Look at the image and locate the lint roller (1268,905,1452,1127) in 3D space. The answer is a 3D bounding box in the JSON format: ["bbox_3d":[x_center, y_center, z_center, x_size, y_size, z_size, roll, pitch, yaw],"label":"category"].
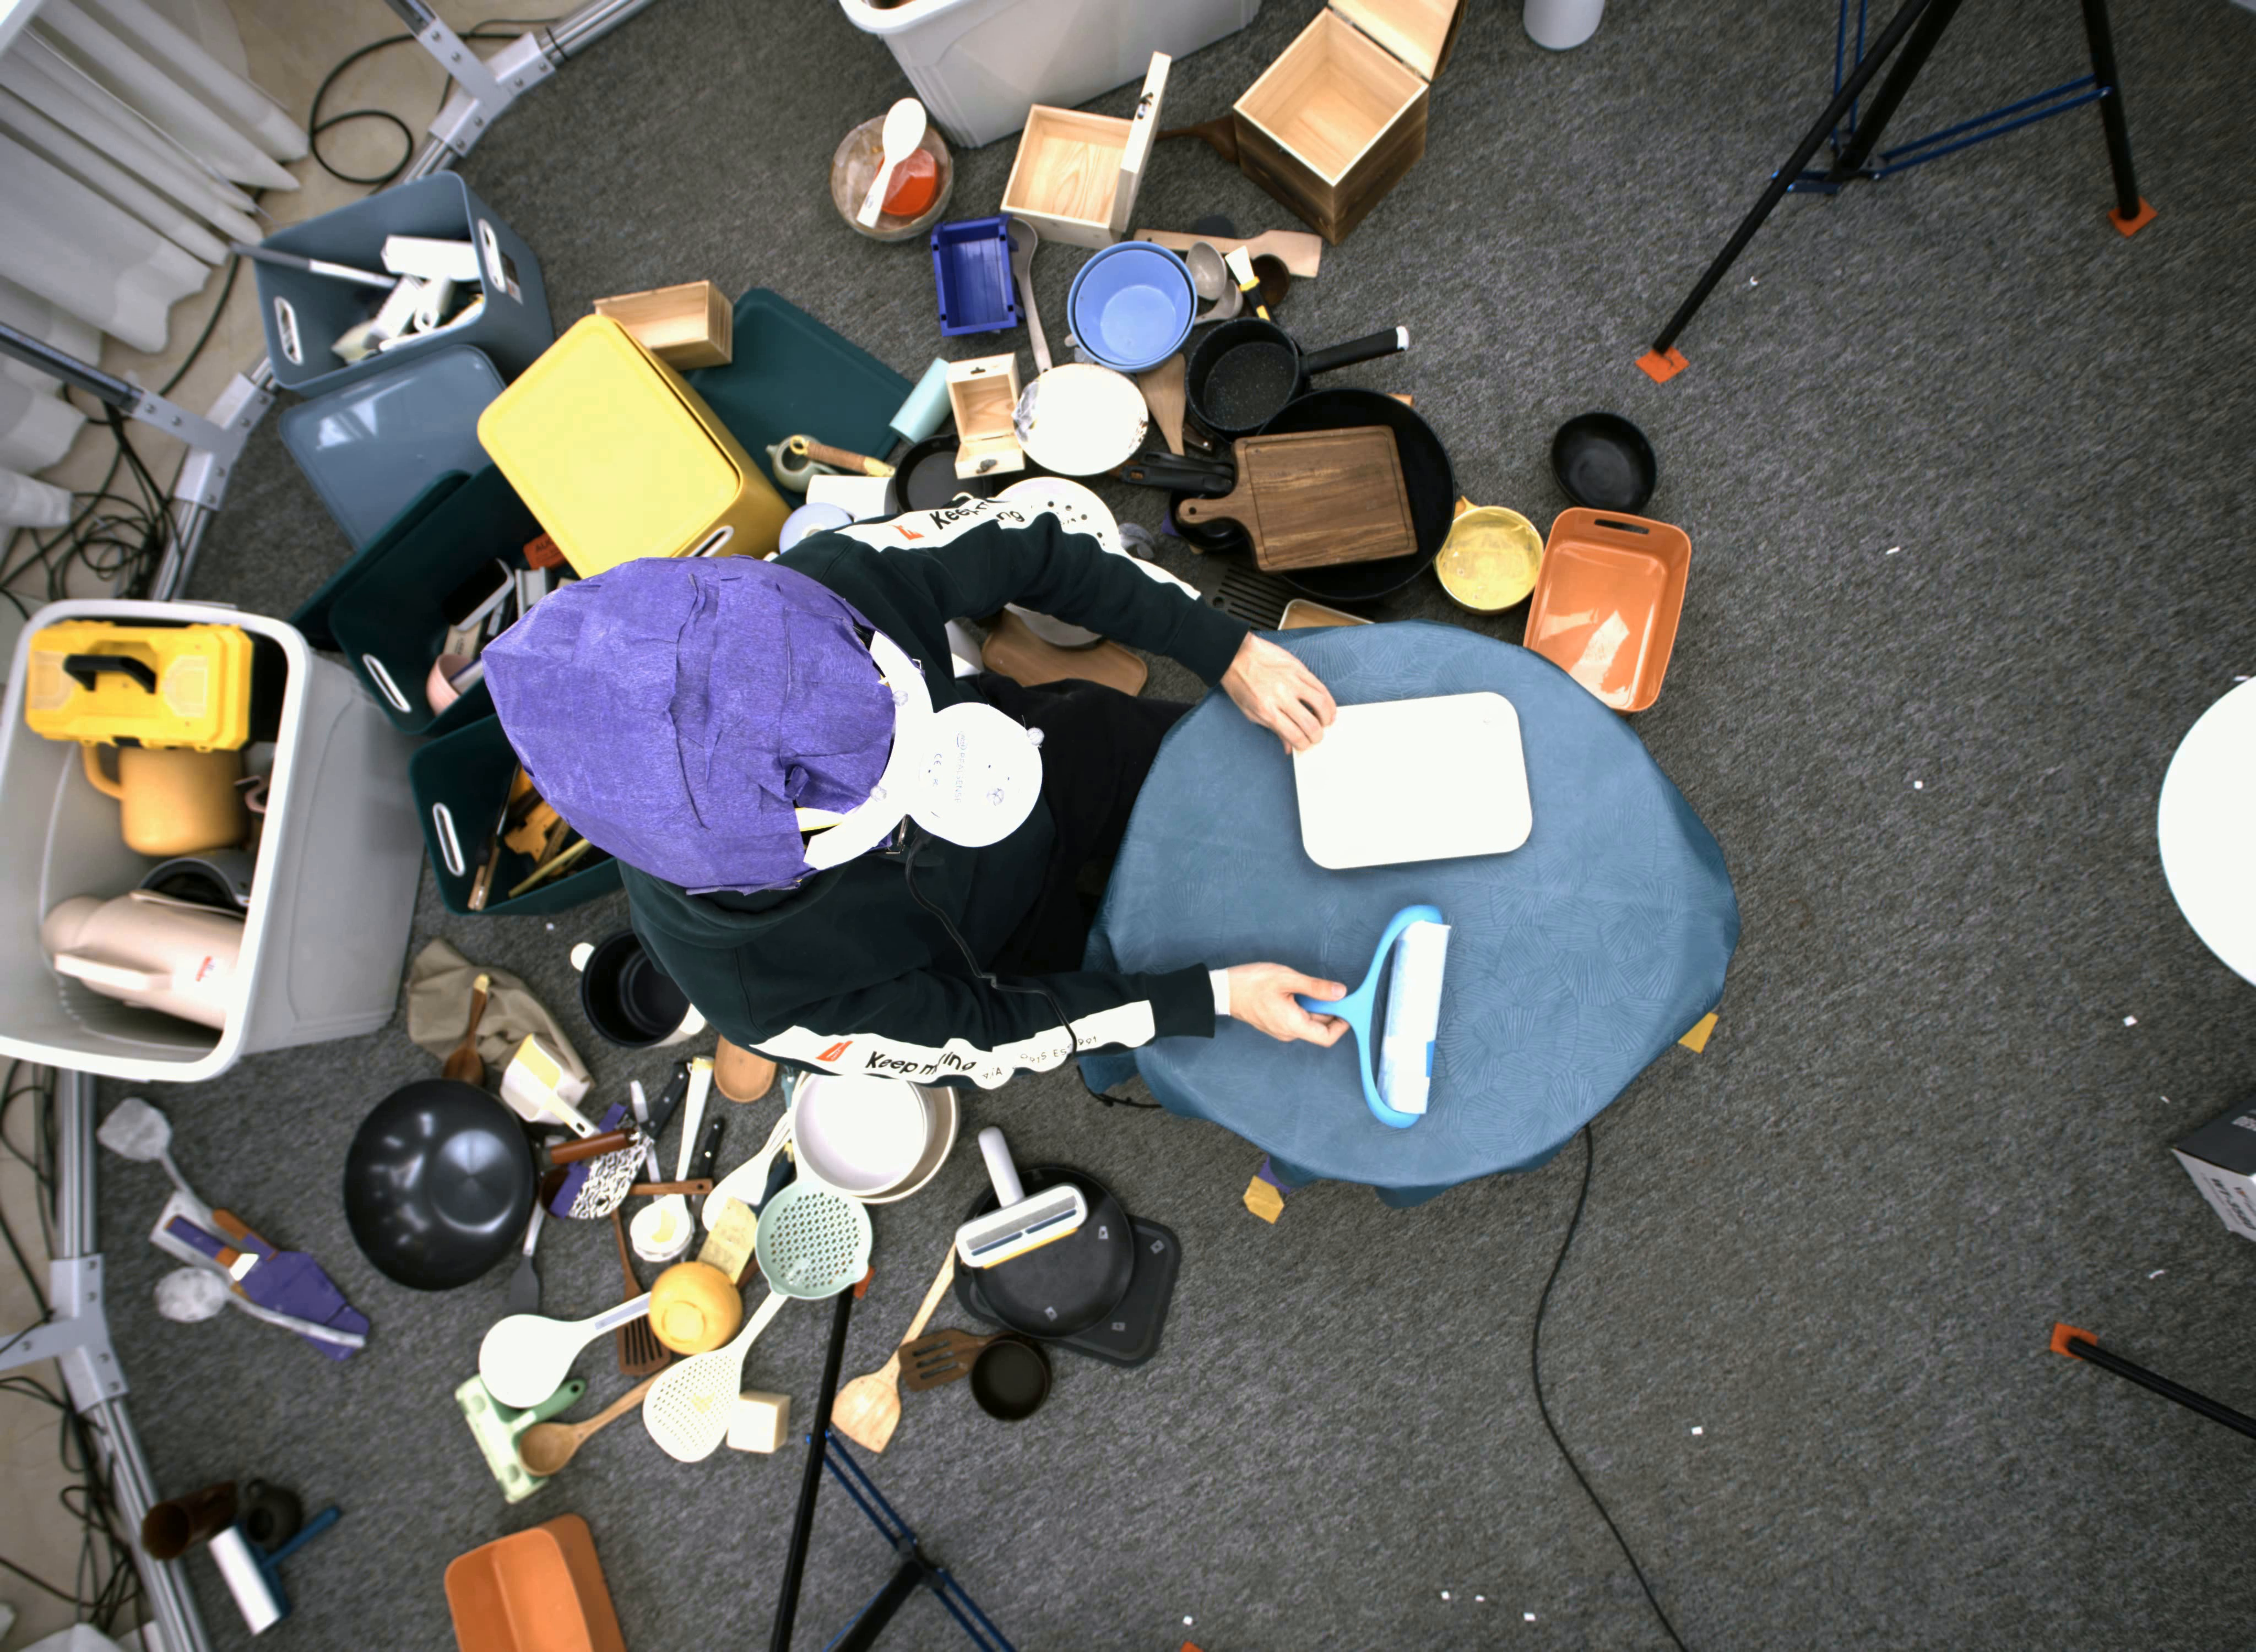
[{"bbox_3d":[0.235,0.188,1.421,0.180,0.068,0.228,5,90,4],"label":"lint roller"}]

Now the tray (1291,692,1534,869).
[{"bbox_3d":[0.295,-0.048,1.434,0.240,0.017,0.170,-6,84,3],"label":"tray"}]
